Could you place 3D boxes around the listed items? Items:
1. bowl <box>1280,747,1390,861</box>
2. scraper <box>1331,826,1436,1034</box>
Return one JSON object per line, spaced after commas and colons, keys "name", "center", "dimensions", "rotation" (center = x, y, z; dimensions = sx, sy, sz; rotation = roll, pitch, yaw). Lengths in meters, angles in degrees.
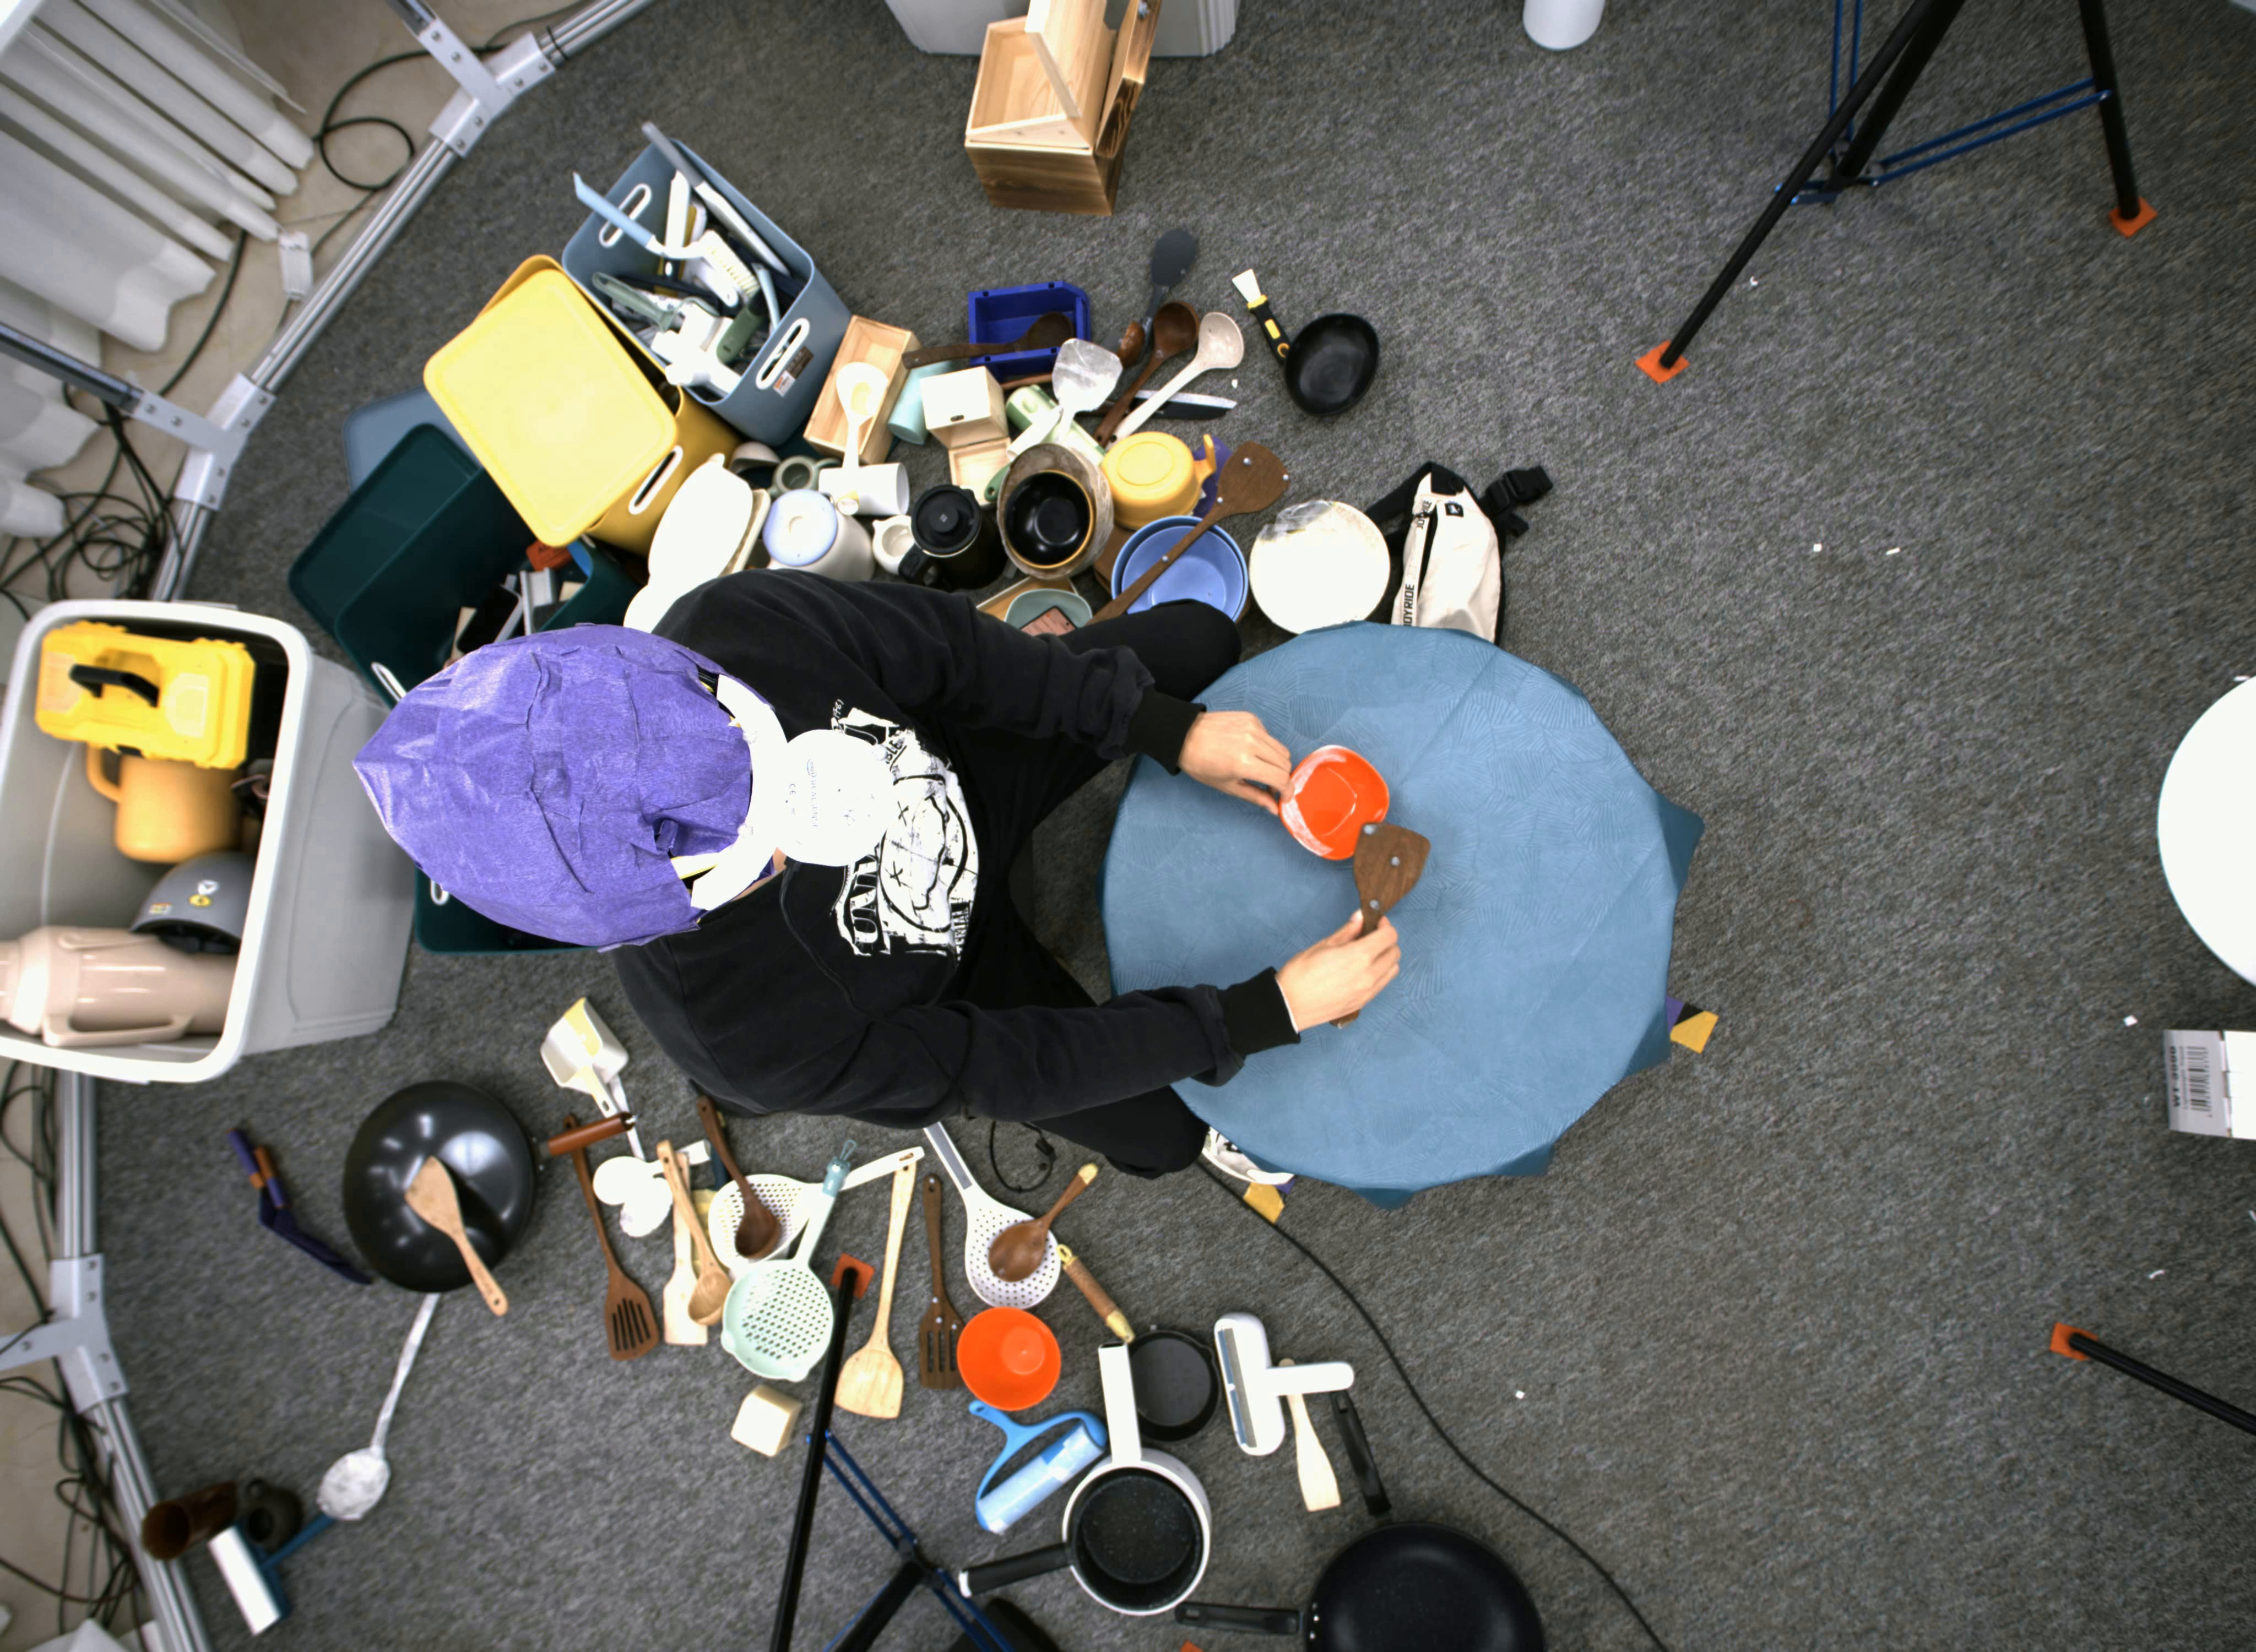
{"name": "bowl", "center": [0.210, -0.025, 1.446], "dimensions": [0.119, 0.051, 0.119], "rotation": [-1, 97, -10]}
{"name": "scraper", "center": [0.245, 0.104, 1.380], "dimensions": [0.076, 0.011, 0.210], "rotation": [18, 87, 0]}
